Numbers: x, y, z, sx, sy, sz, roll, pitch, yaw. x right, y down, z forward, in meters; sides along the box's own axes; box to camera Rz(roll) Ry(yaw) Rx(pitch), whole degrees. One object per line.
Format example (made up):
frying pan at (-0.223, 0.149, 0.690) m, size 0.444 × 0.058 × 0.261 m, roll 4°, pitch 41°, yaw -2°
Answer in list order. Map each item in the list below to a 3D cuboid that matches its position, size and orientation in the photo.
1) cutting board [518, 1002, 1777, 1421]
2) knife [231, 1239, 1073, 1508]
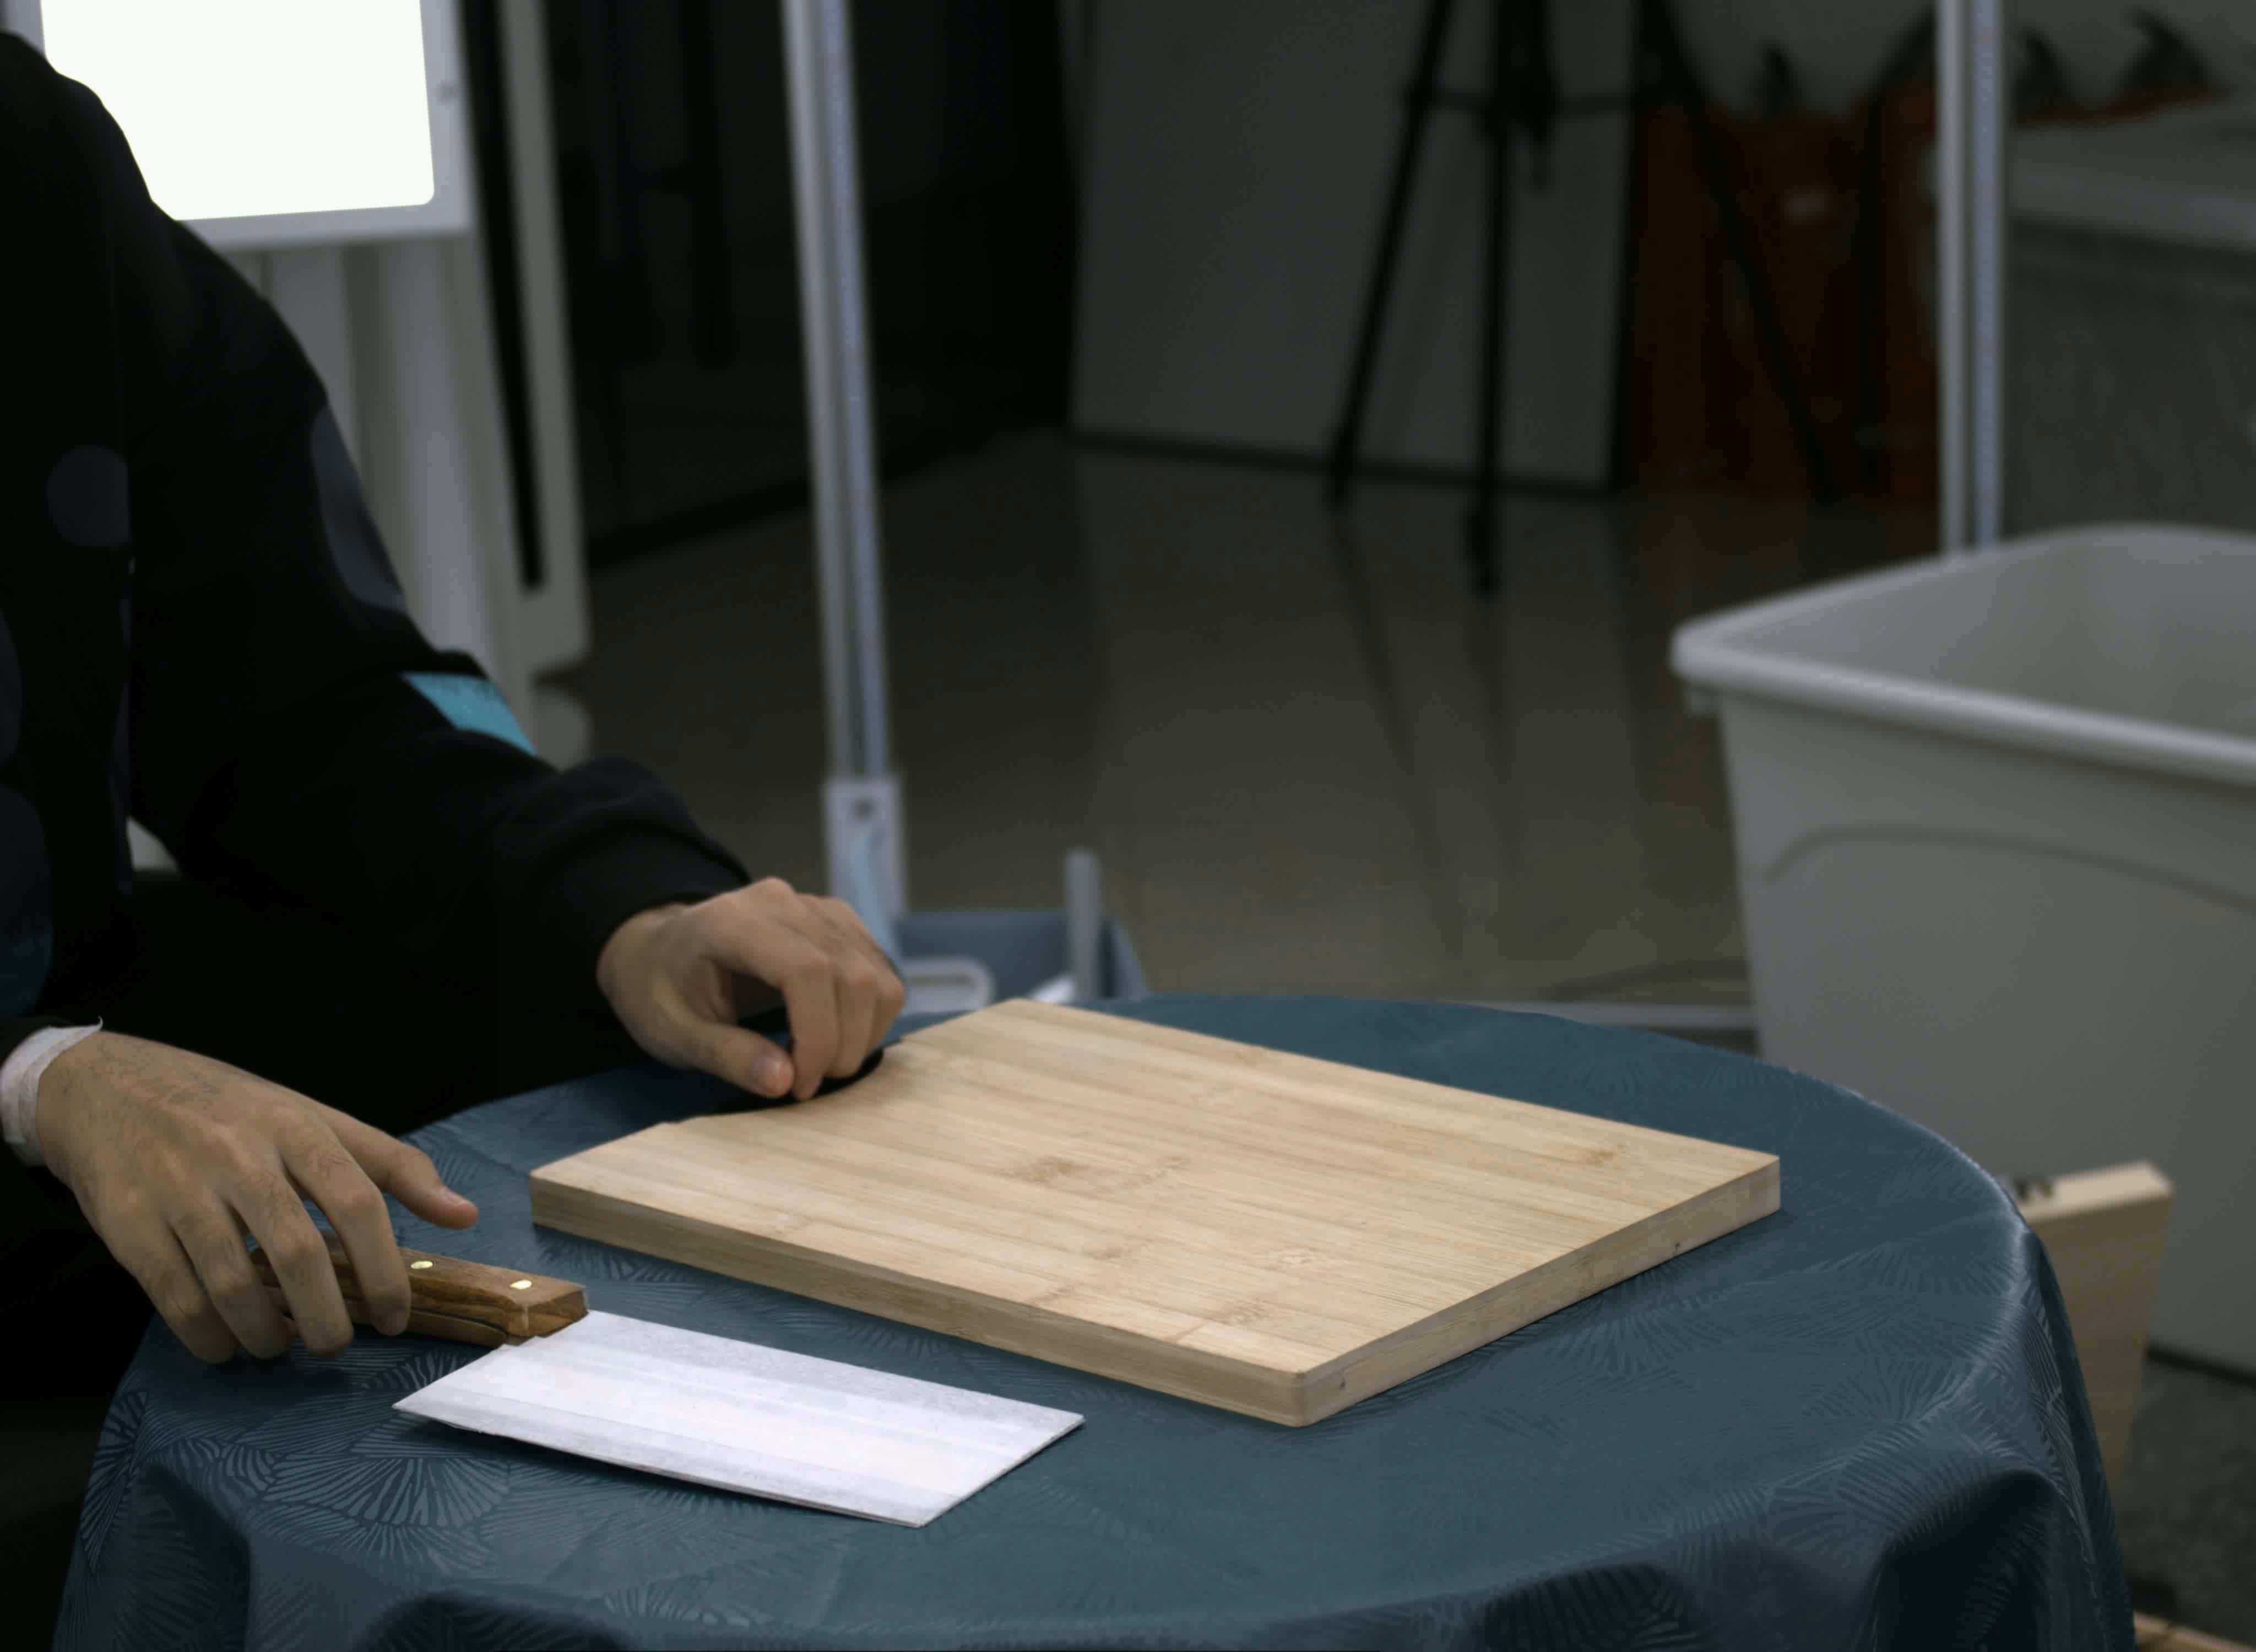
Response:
cutting board at (0.003, 0.118, 1.746) m, size 0.351 × 0.024 × 0.246 m, roll 9°, pitch 19°, yaw 42°
knife at (-0.161, 0.165, 1.609) m, size 0.307 × 0.021 × 0.091 m, roll 8°, pitch 19°, yaw 33°
